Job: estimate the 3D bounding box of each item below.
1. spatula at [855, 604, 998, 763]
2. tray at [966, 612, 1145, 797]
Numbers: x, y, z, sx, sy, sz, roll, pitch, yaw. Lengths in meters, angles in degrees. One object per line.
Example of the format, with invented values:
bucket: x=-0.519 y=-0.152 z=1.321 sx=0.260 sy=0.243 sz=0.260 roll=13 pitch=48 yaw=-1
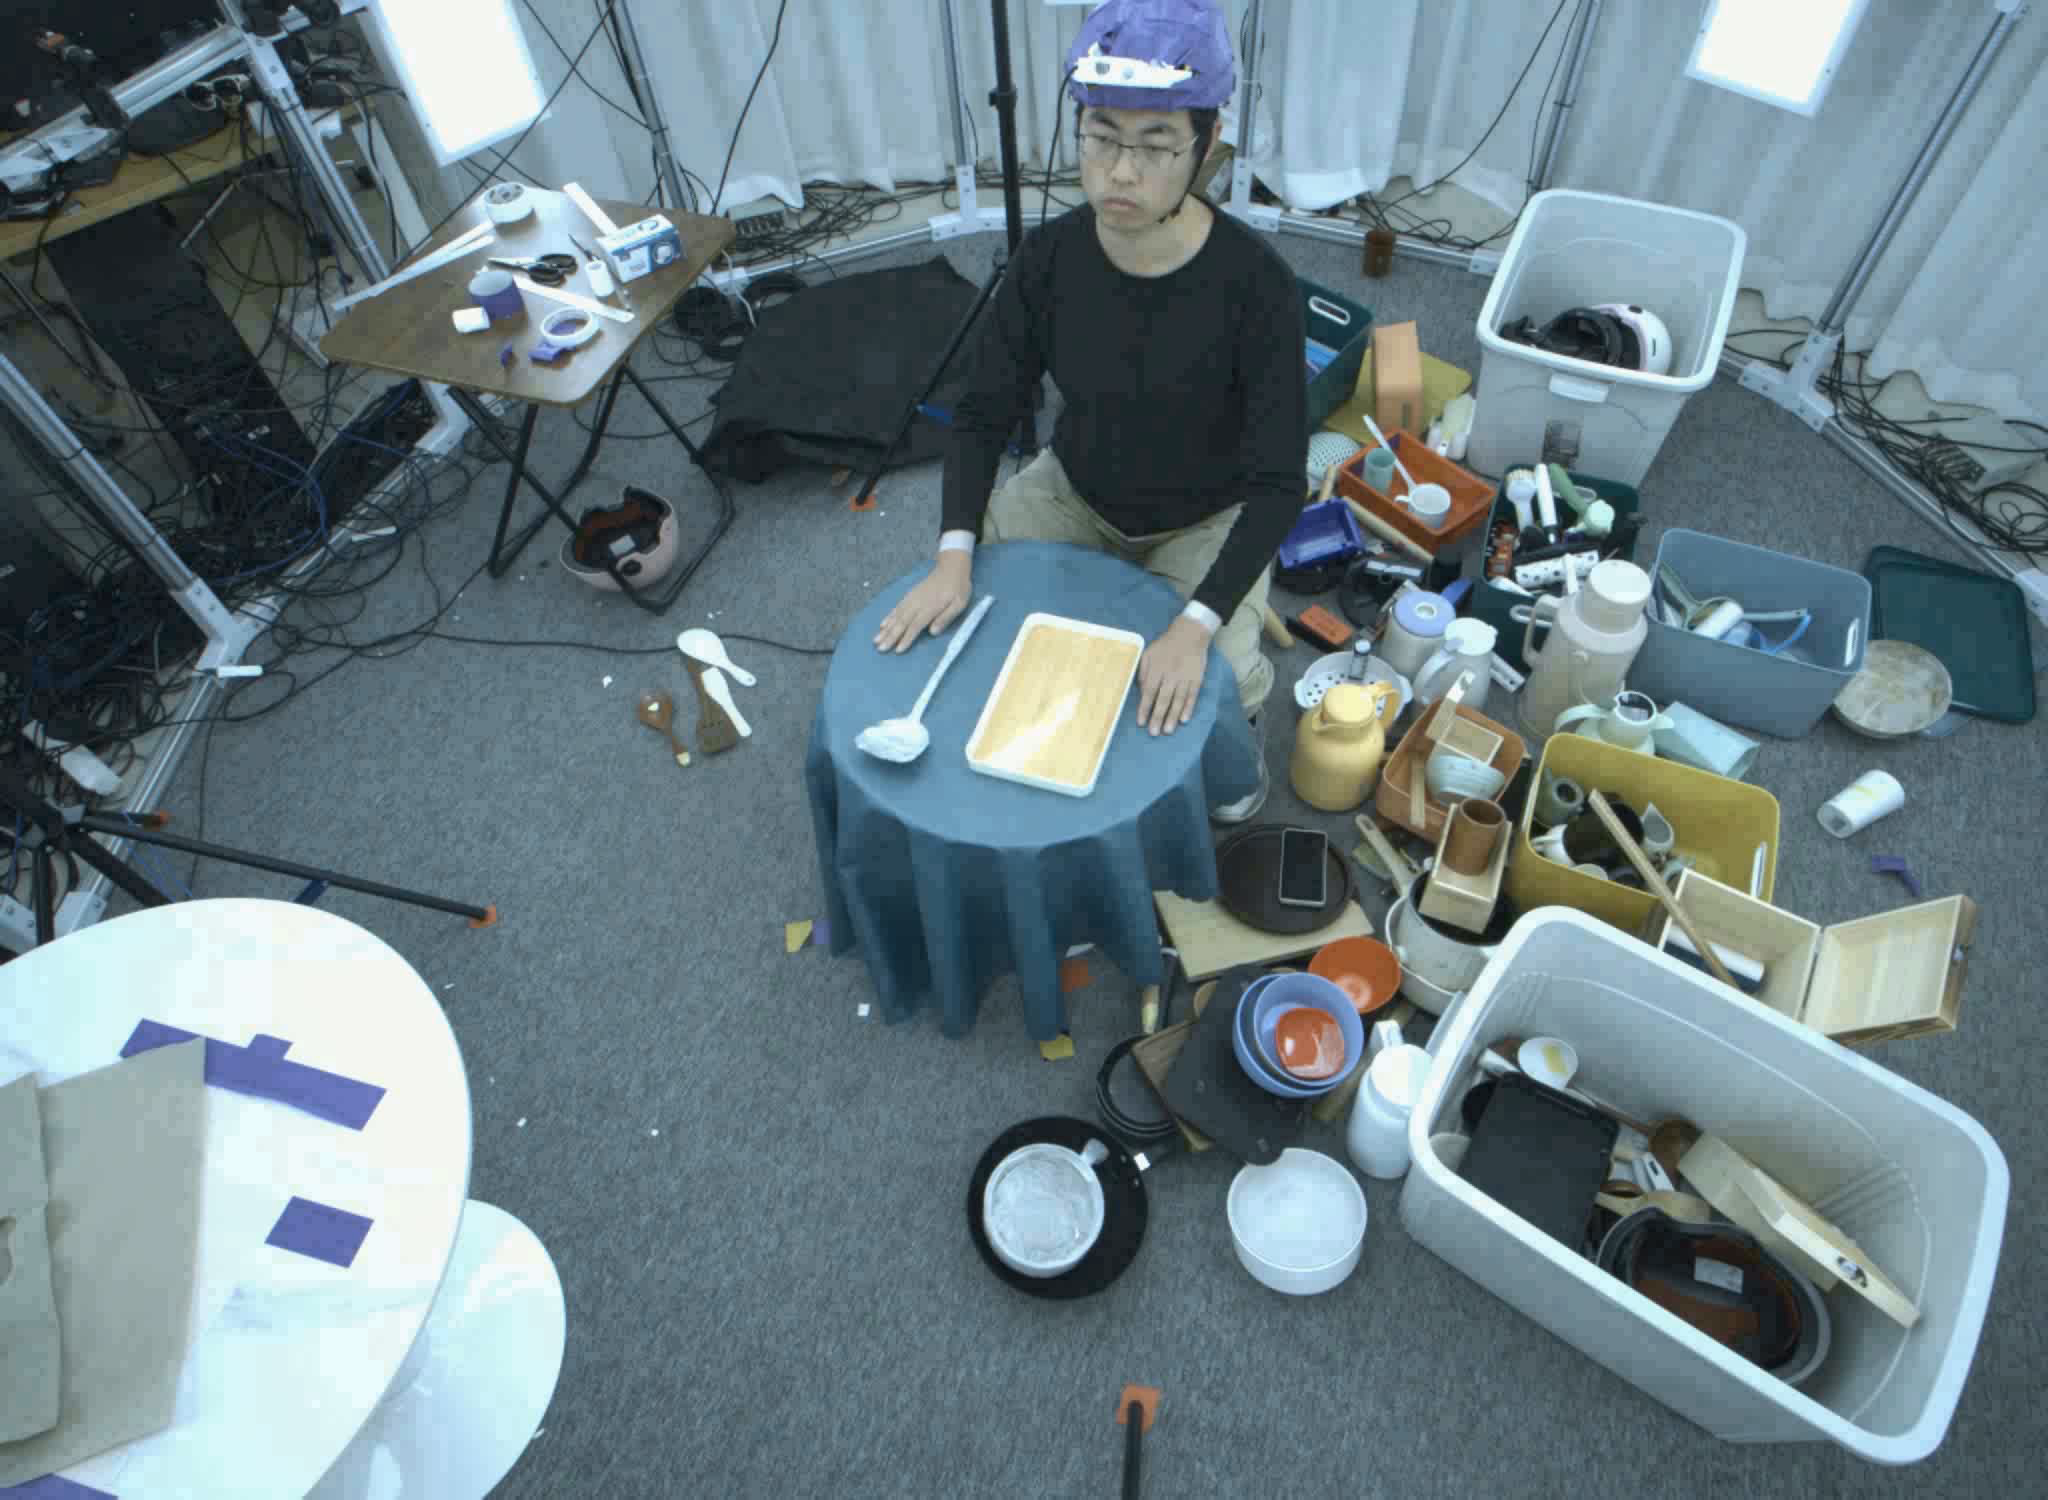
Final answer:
spatula: x=-0.129 y=-0.113 z=1.848 sx=0.097 sy=0.045 sz=0.365 roll=19 pitch=58 yaw=16
tray: x=0.051 y=-0.073 z=1.821 sx=0.190 sy=0.028 sz=0.300 roll=15 pitch=57 yaw=12
